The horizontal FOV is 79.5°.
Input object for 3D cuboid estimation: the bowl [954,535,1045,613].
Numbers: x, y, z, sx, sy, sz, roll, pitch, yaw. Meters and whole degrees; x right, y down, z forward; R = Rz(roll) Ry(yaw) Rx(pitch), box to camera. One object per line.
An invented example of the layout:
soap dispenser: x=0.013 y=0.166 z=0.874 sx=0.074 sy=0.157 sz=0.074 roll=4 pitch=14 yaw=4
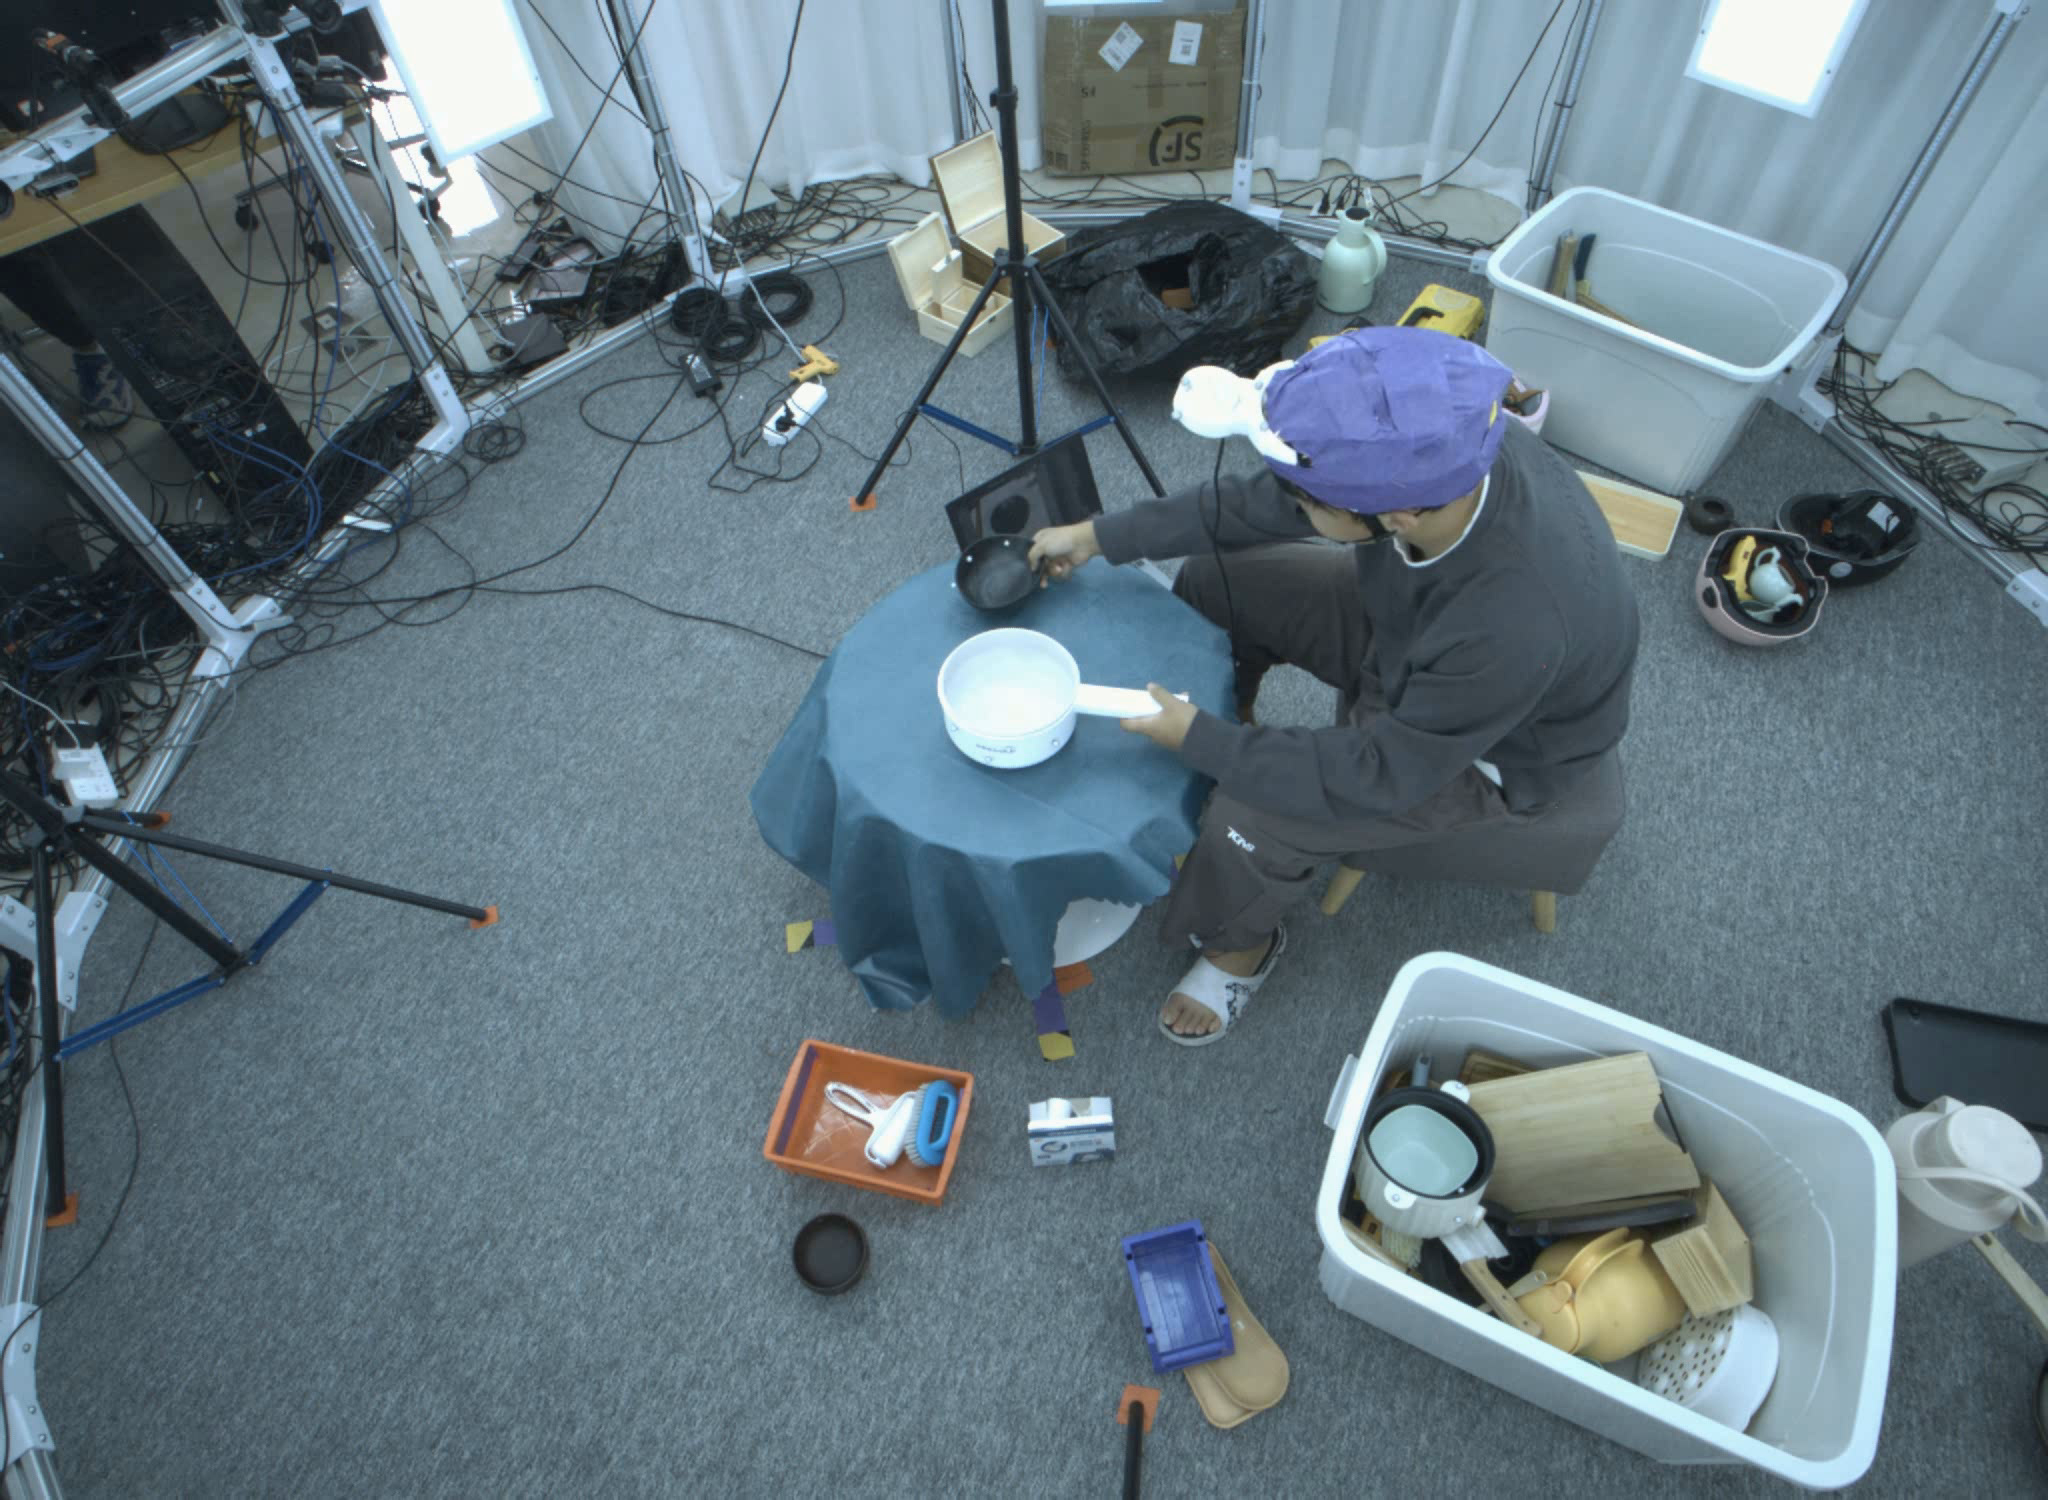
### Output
bowl: x=-0.037 y=-0.270 z=1.939 sx=0.136 sy=0.067 sz=0.170 roll=17 pitch=56 yaw=13

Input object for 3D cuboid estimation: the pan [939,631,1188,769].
pan: x=0.055 y=-0.056 z=1.773 sx=0.354 sy=0.103 sz=0.200 roll=9 pitch=54 yaw=3
